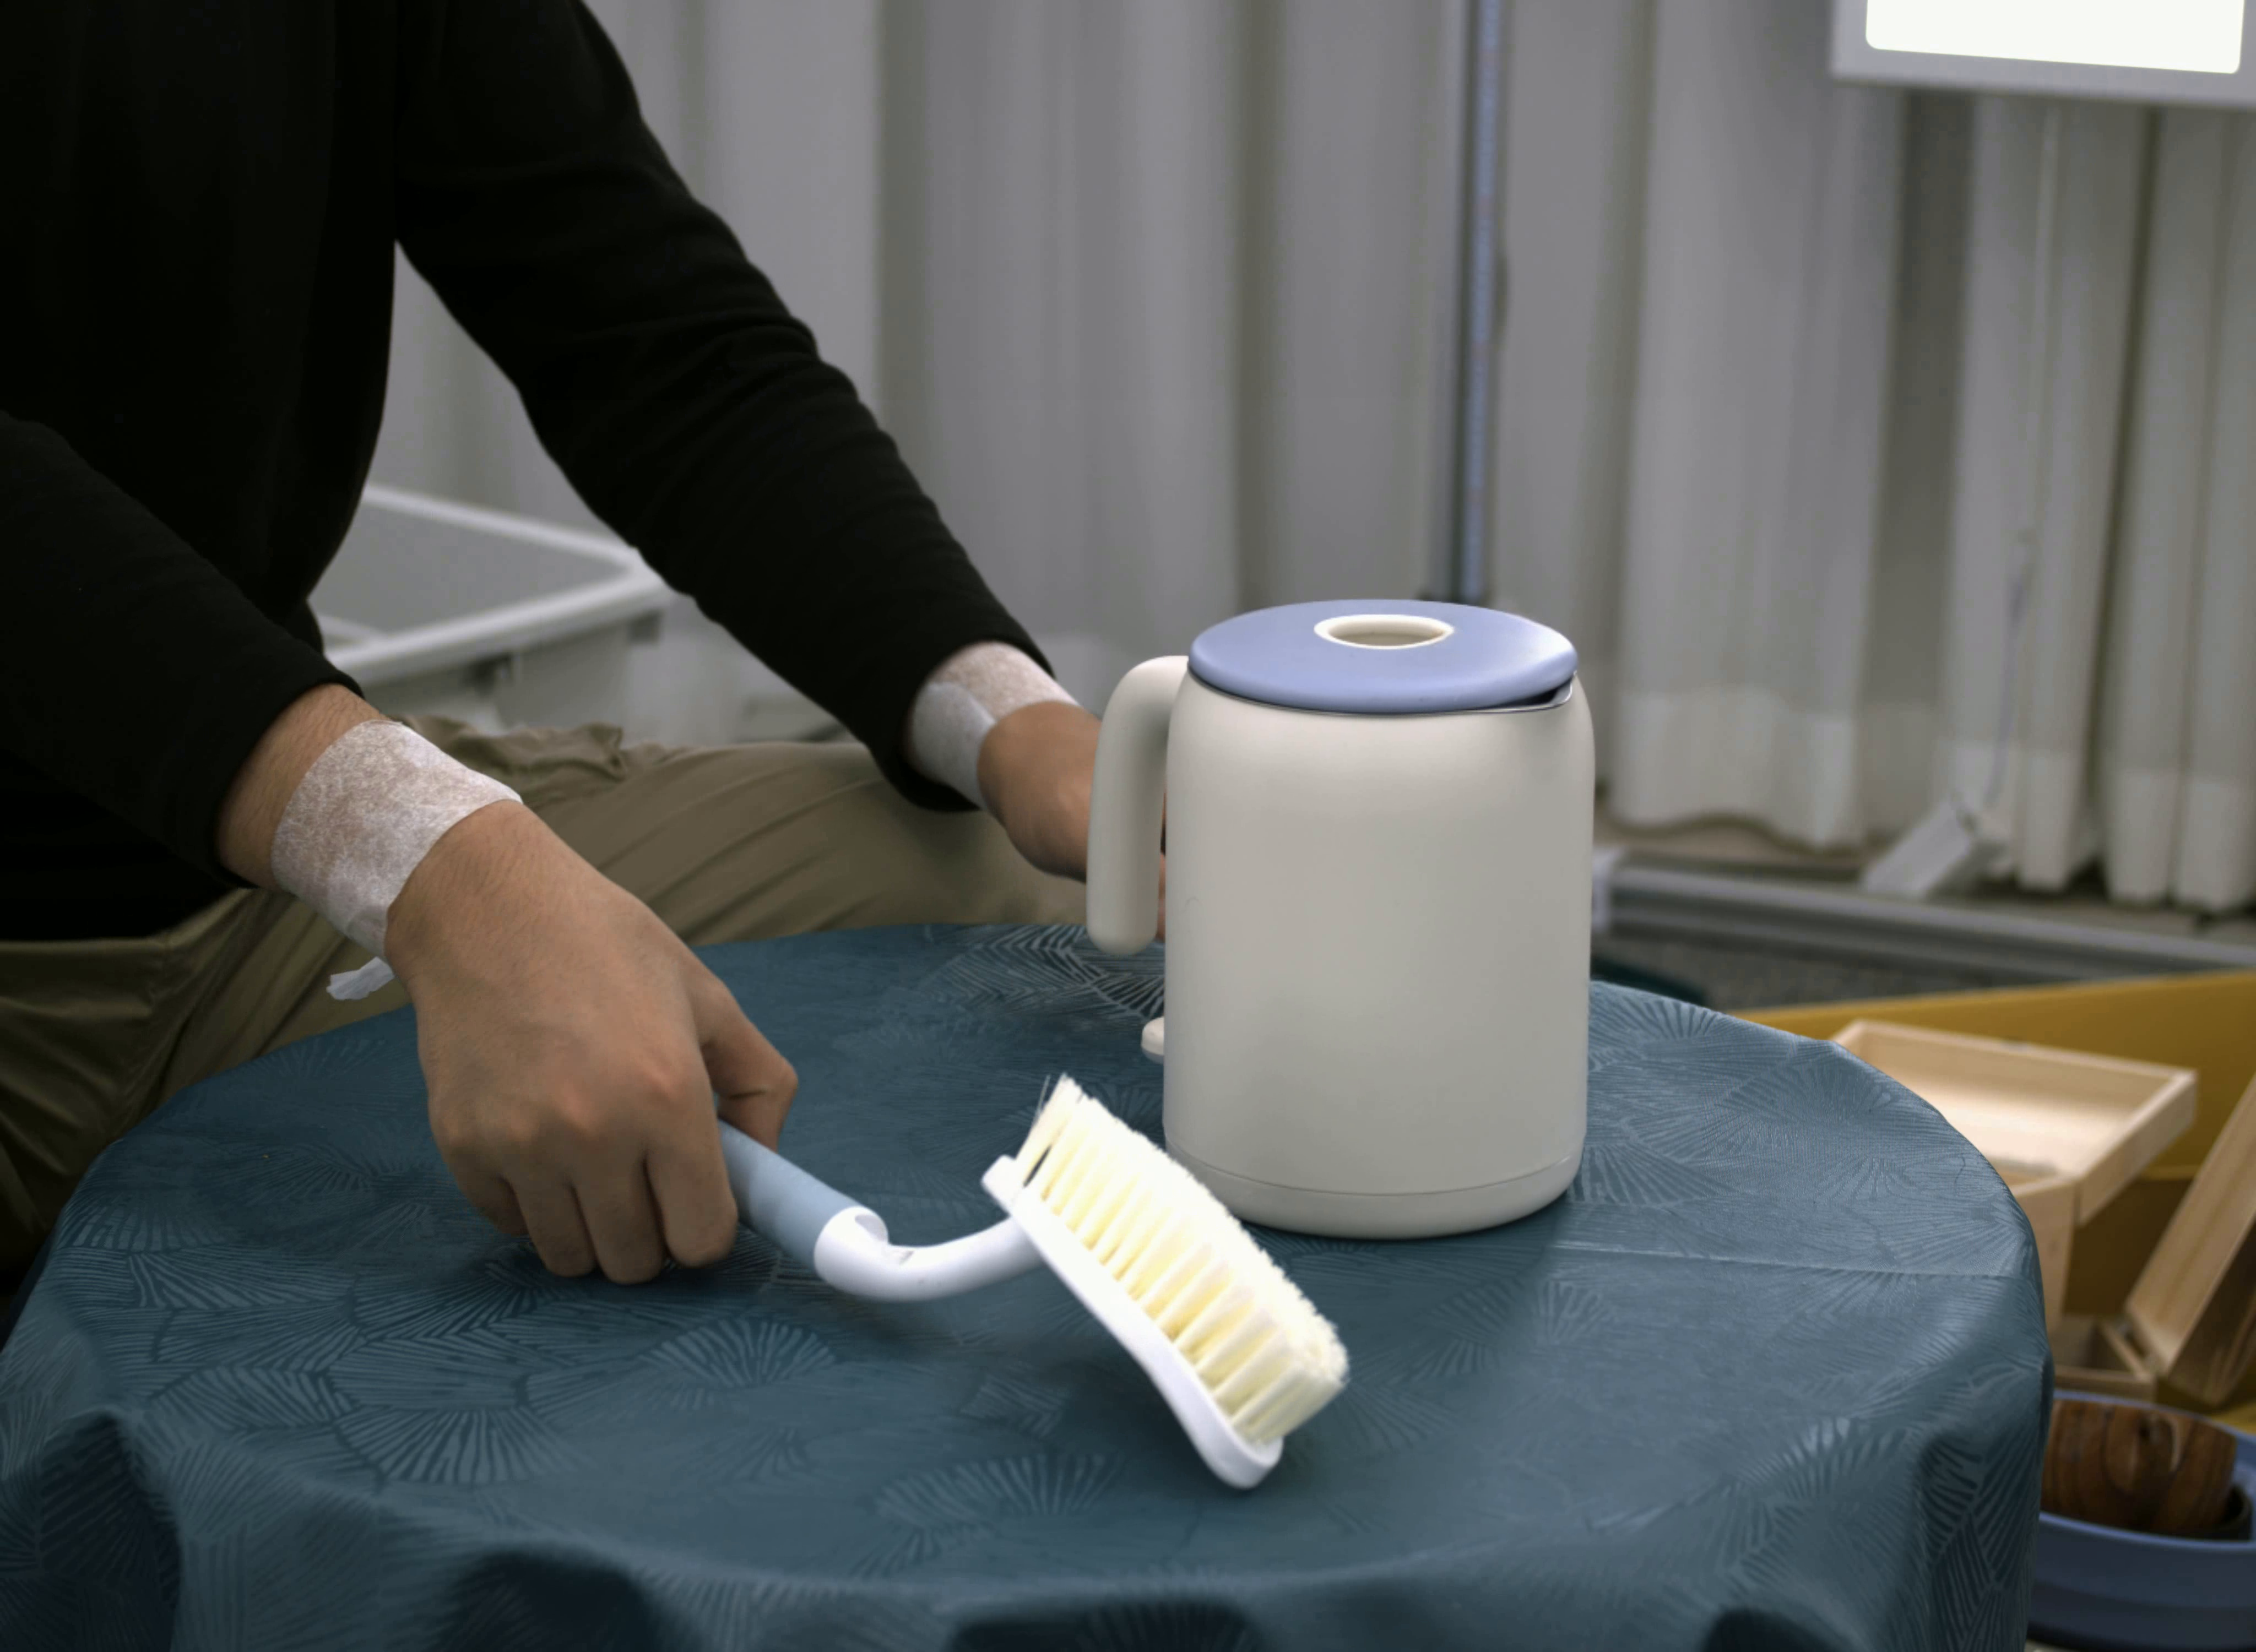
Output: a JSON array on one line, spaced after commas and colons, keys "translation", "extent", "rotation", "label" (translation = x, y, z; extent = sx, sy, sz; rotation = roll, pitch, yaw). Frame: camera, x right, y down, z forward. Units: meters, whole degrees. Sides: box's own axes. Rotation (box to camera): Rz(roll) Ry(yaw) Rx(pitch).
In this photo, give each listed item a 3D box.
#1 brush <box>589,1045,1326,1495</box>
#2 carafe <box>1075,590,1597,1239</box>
[{"translation": [-0.049, 0.094, 1.502], "extent": [0.085, 0.084, 0.321], "rotation": [-23, 30, -30], "label": "brush"}, {"translation": [0.058, 0.022, 1.626], "extent": [0.188, 0.184, 0.133], "rotation": [12, 20, 39], "label": "carafe"}]
